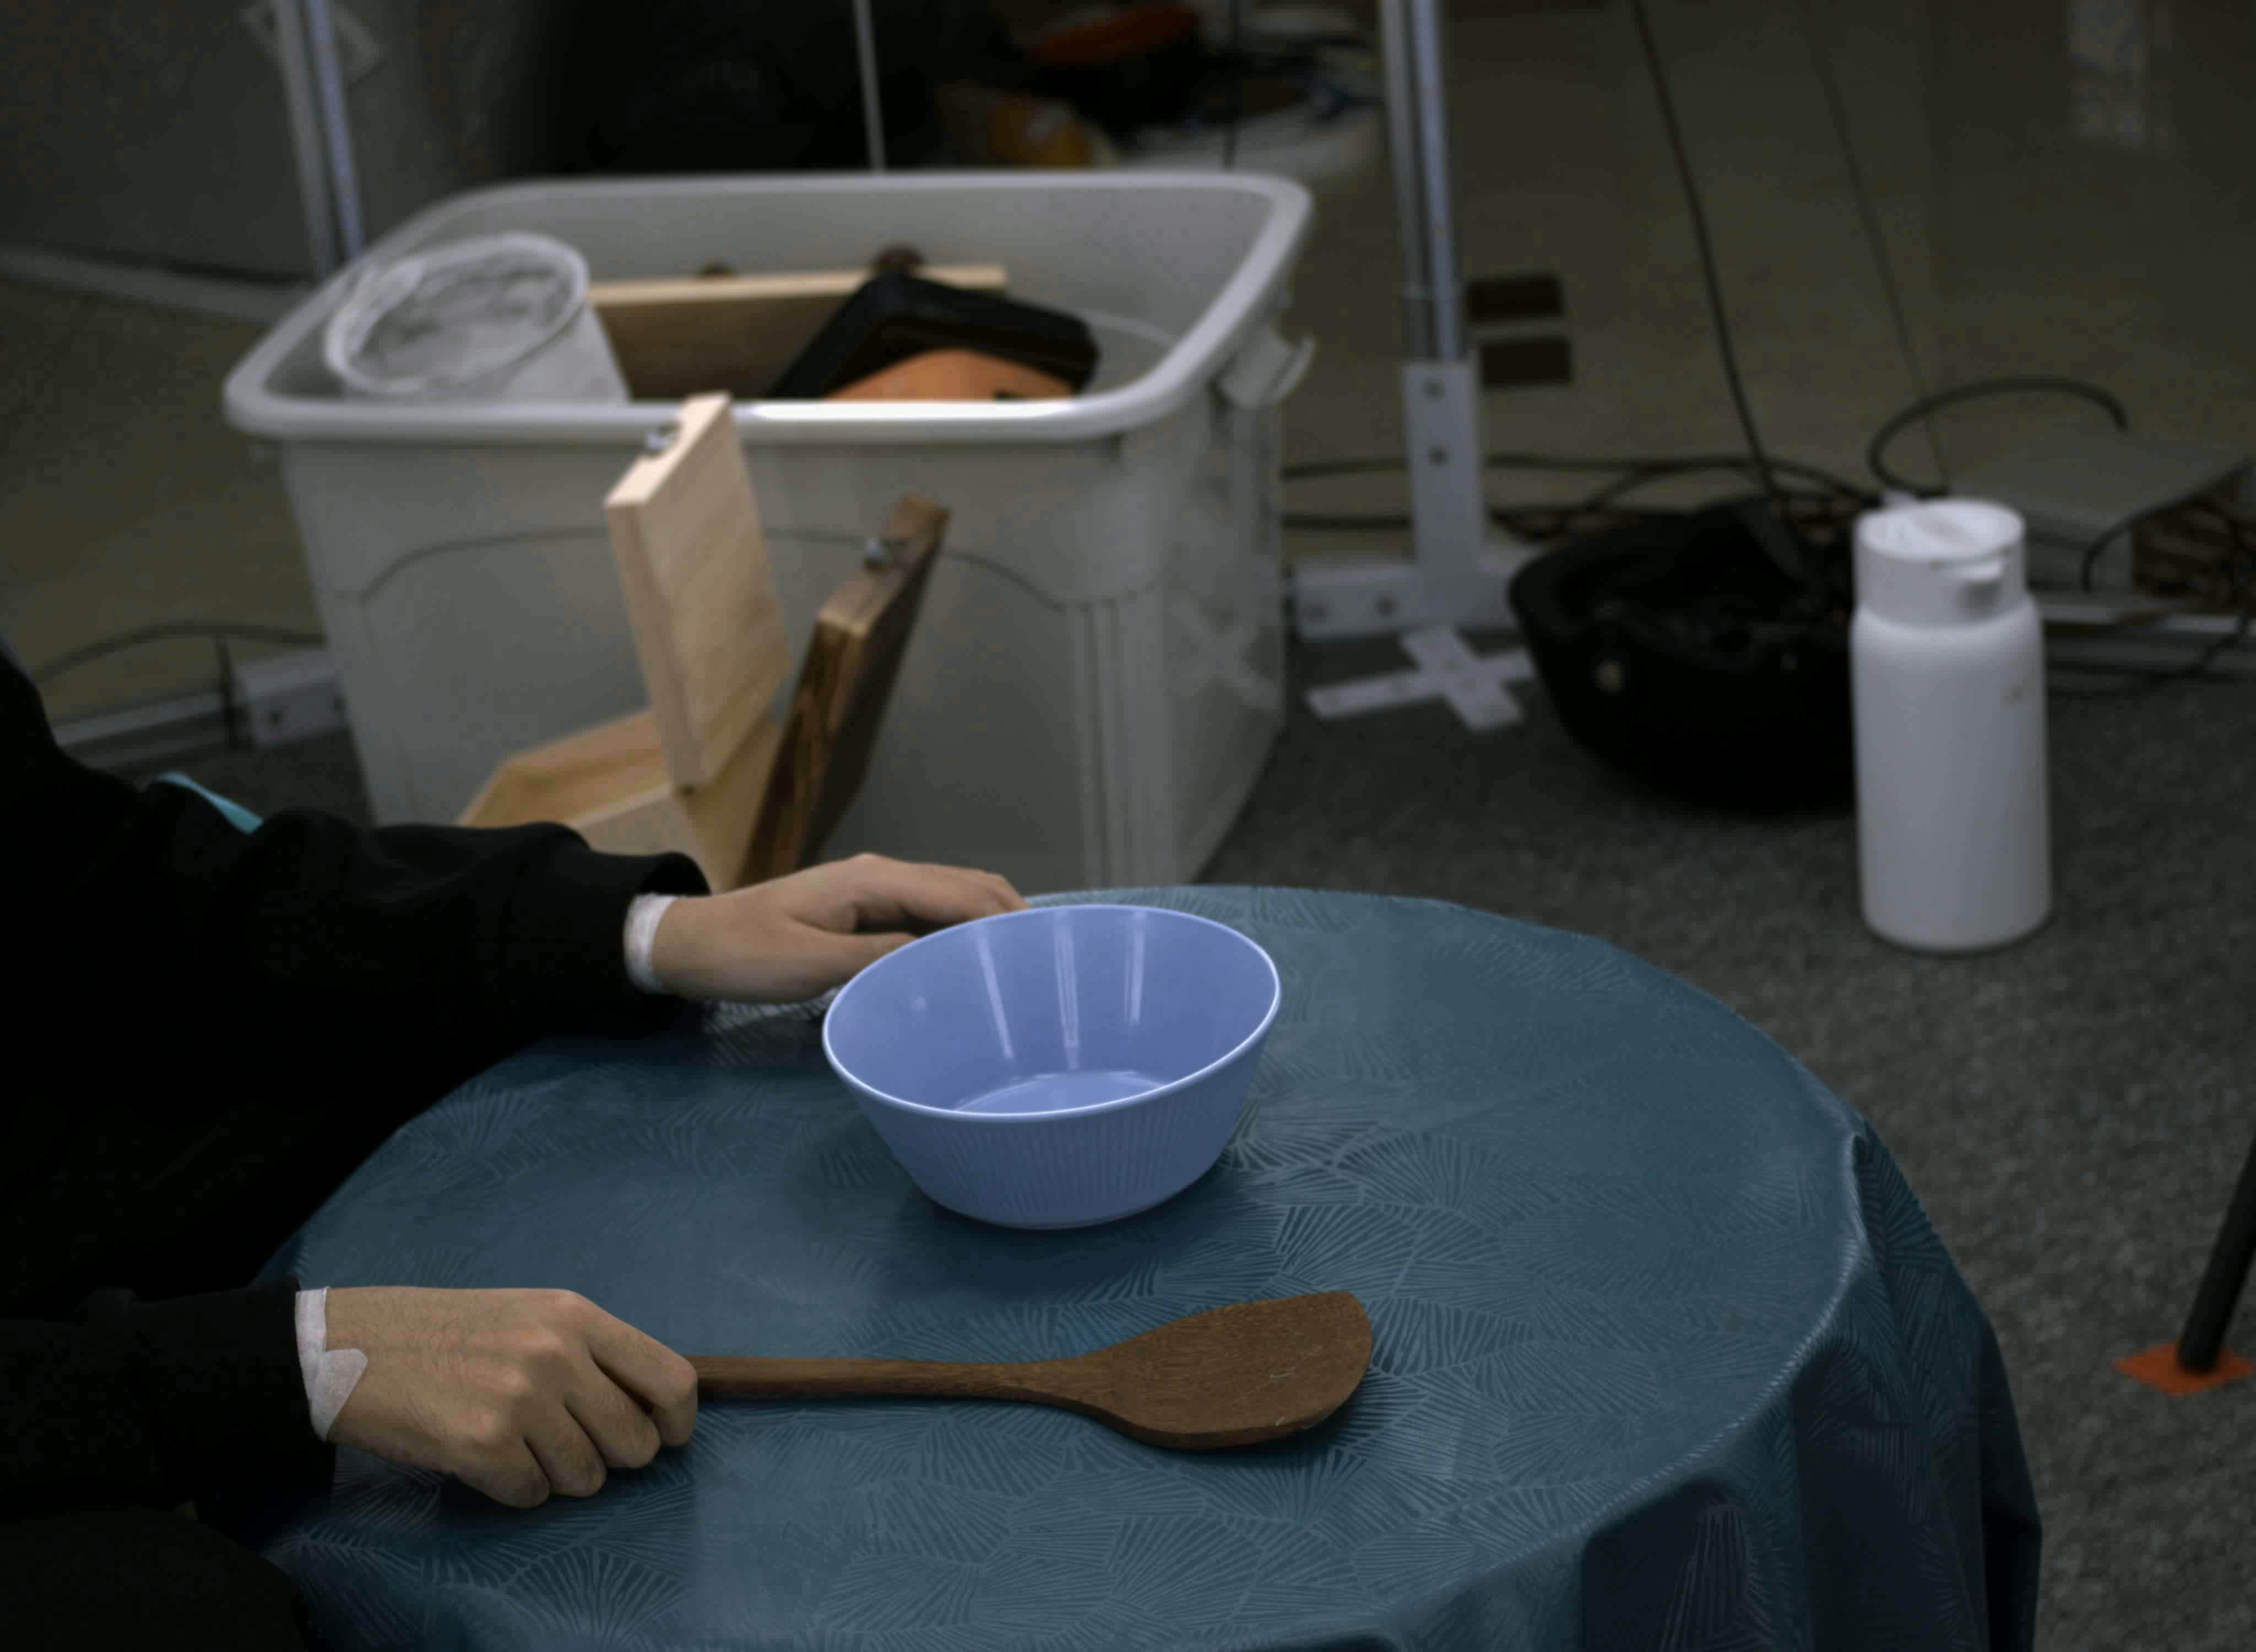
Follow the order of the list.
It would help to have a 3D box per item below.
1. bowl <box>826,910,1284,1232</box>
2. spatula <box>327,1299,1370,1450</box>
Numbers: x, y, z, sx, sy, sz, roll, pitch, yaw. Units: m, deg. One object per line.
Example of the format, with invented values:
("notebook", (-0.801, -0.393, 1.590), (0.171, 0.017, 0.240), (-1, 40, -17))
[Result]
("bowl", (-0.024, 0.099, 2.162), (0.176, 0.071, 0.173), (-6, 24, 3))
("spatula", (-0.104, 0.198, 2.036), (0.385, 0.016, 0.095), (-1, 25, 11))
